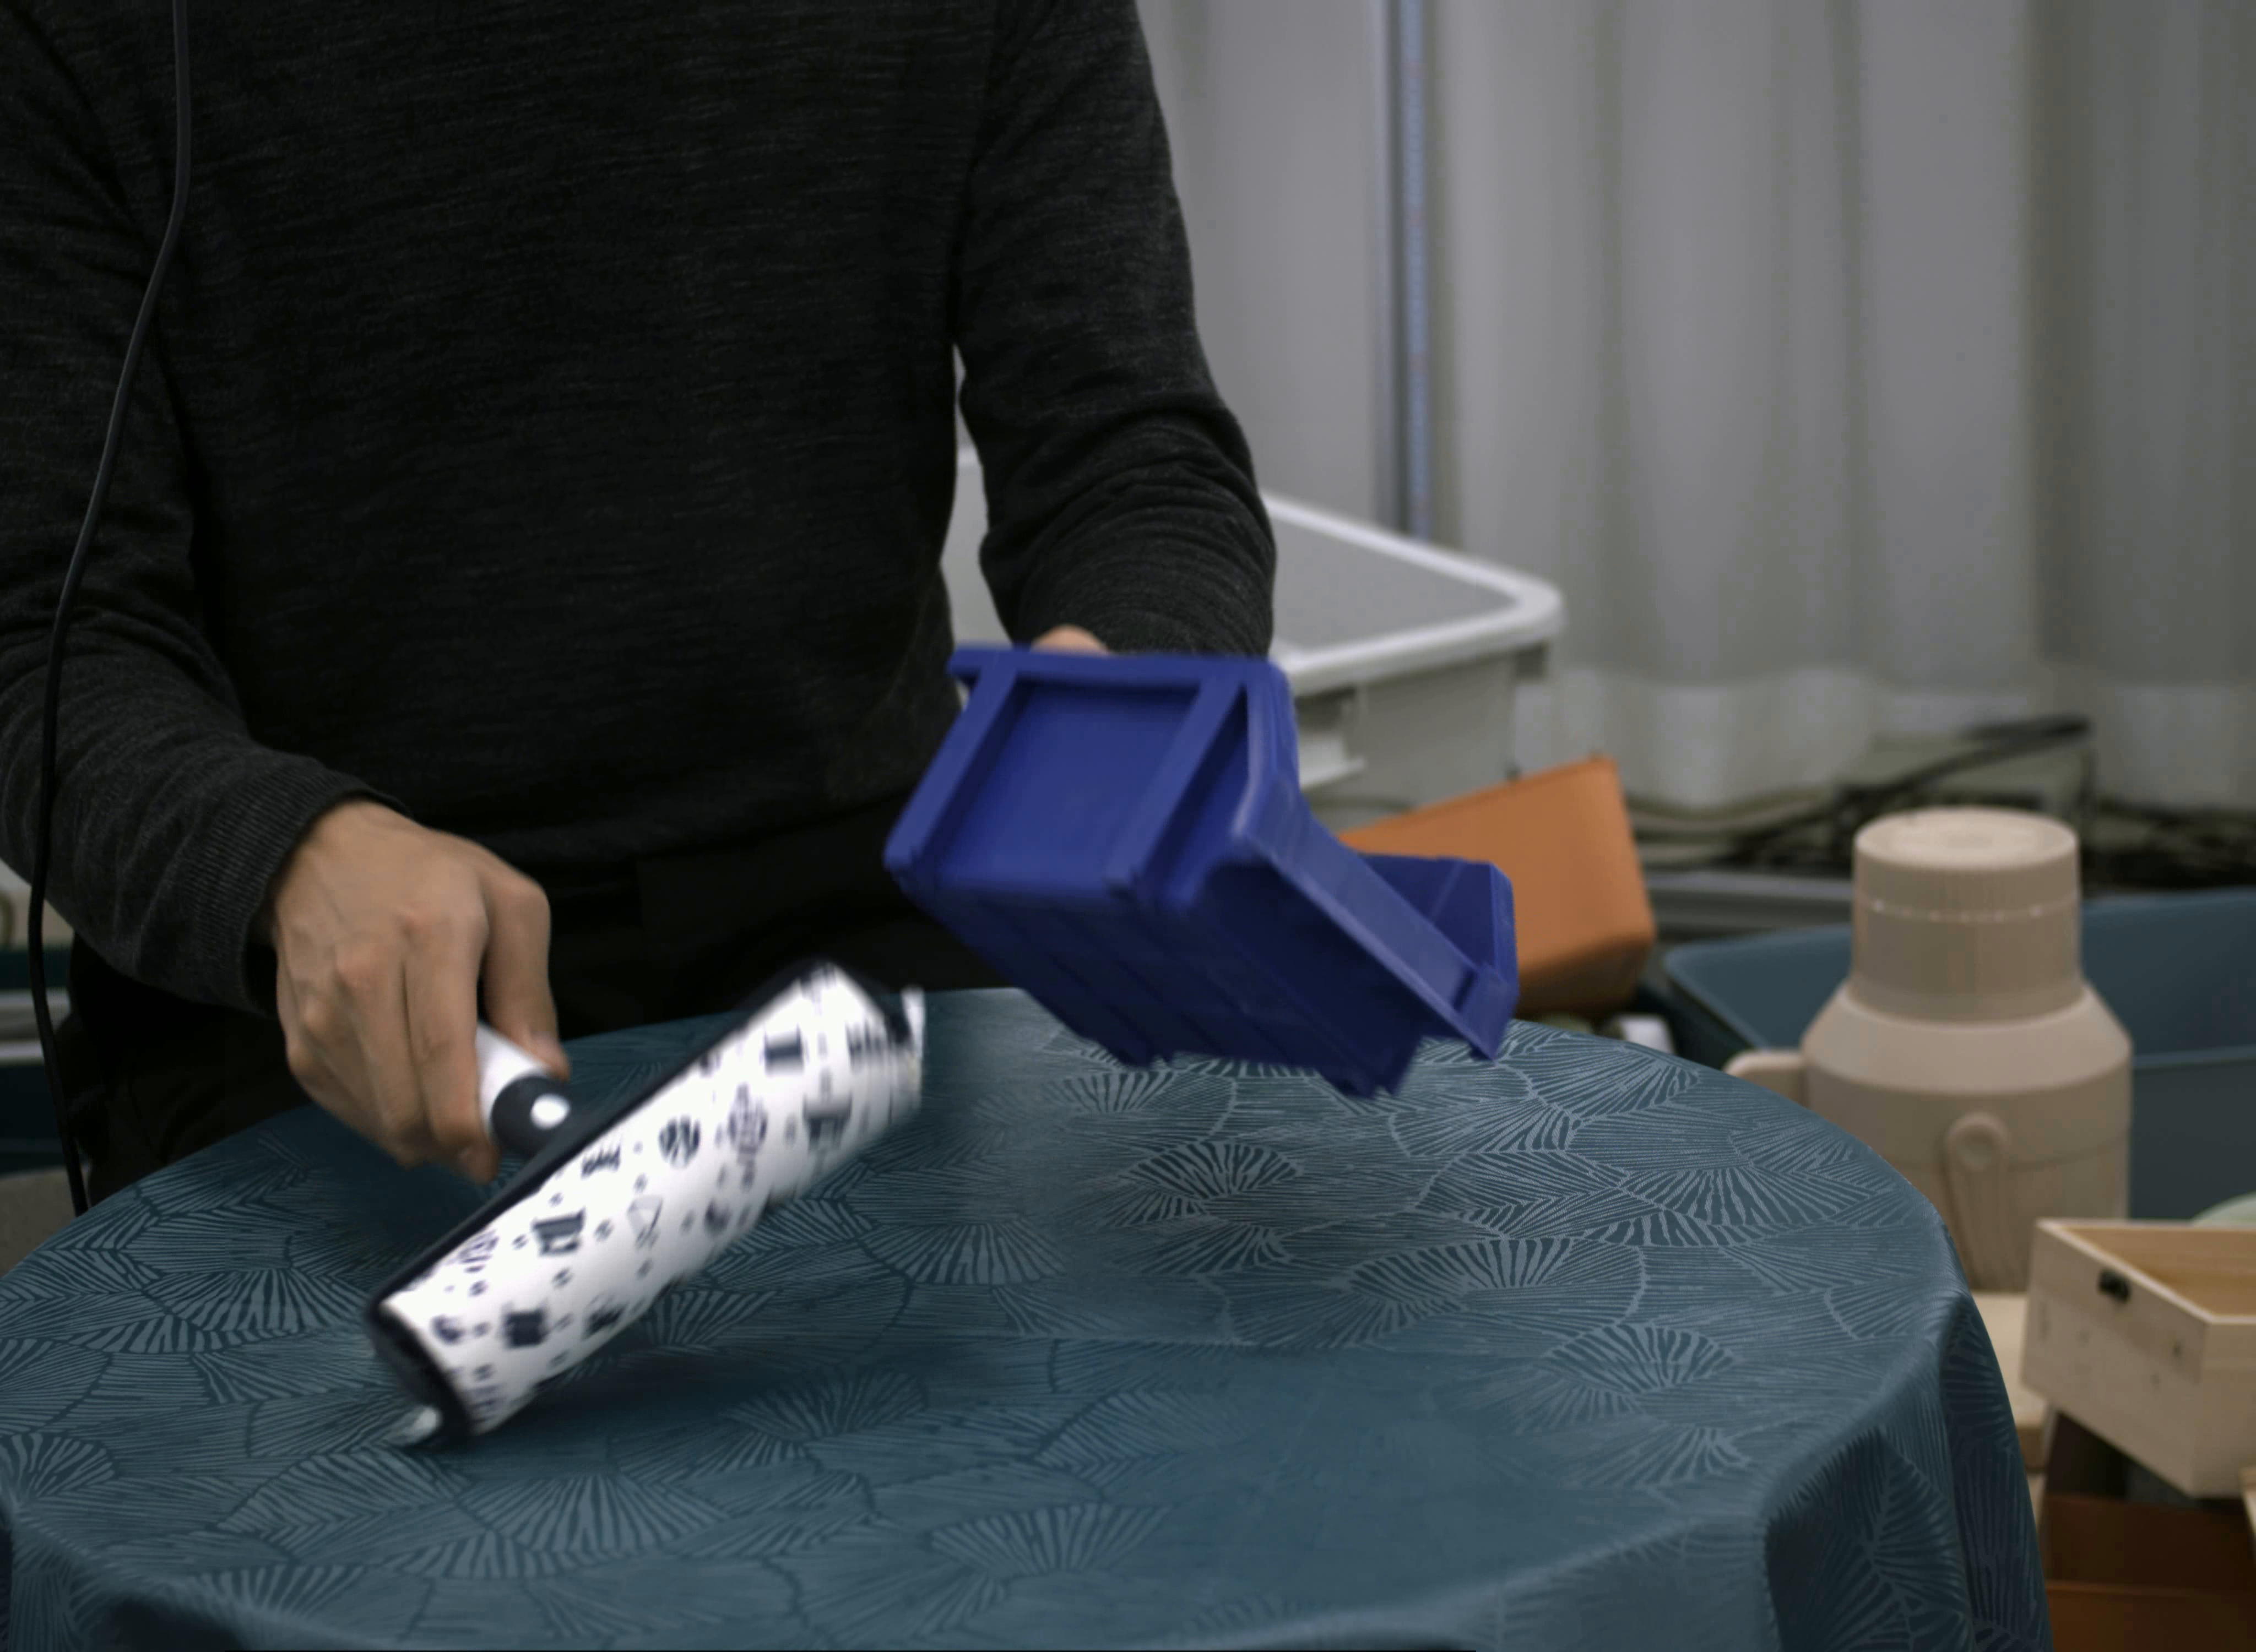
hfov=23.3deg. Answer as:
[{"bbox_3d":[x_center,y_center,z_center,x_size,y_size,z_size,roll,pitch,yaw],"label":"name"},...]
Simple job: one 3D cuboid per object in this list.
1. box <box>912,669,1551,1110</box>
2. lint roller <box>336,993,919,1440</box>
[{"bbox_3d":[0.033,0.020,1.642,0.123,0.082,0.180,40,-25,-33],"label":"box"},{"bbox_3d":[-0.186,0.087,1.636,0.176,0.050,0.249,-34,28,-18],"label":"lint roller"}]
